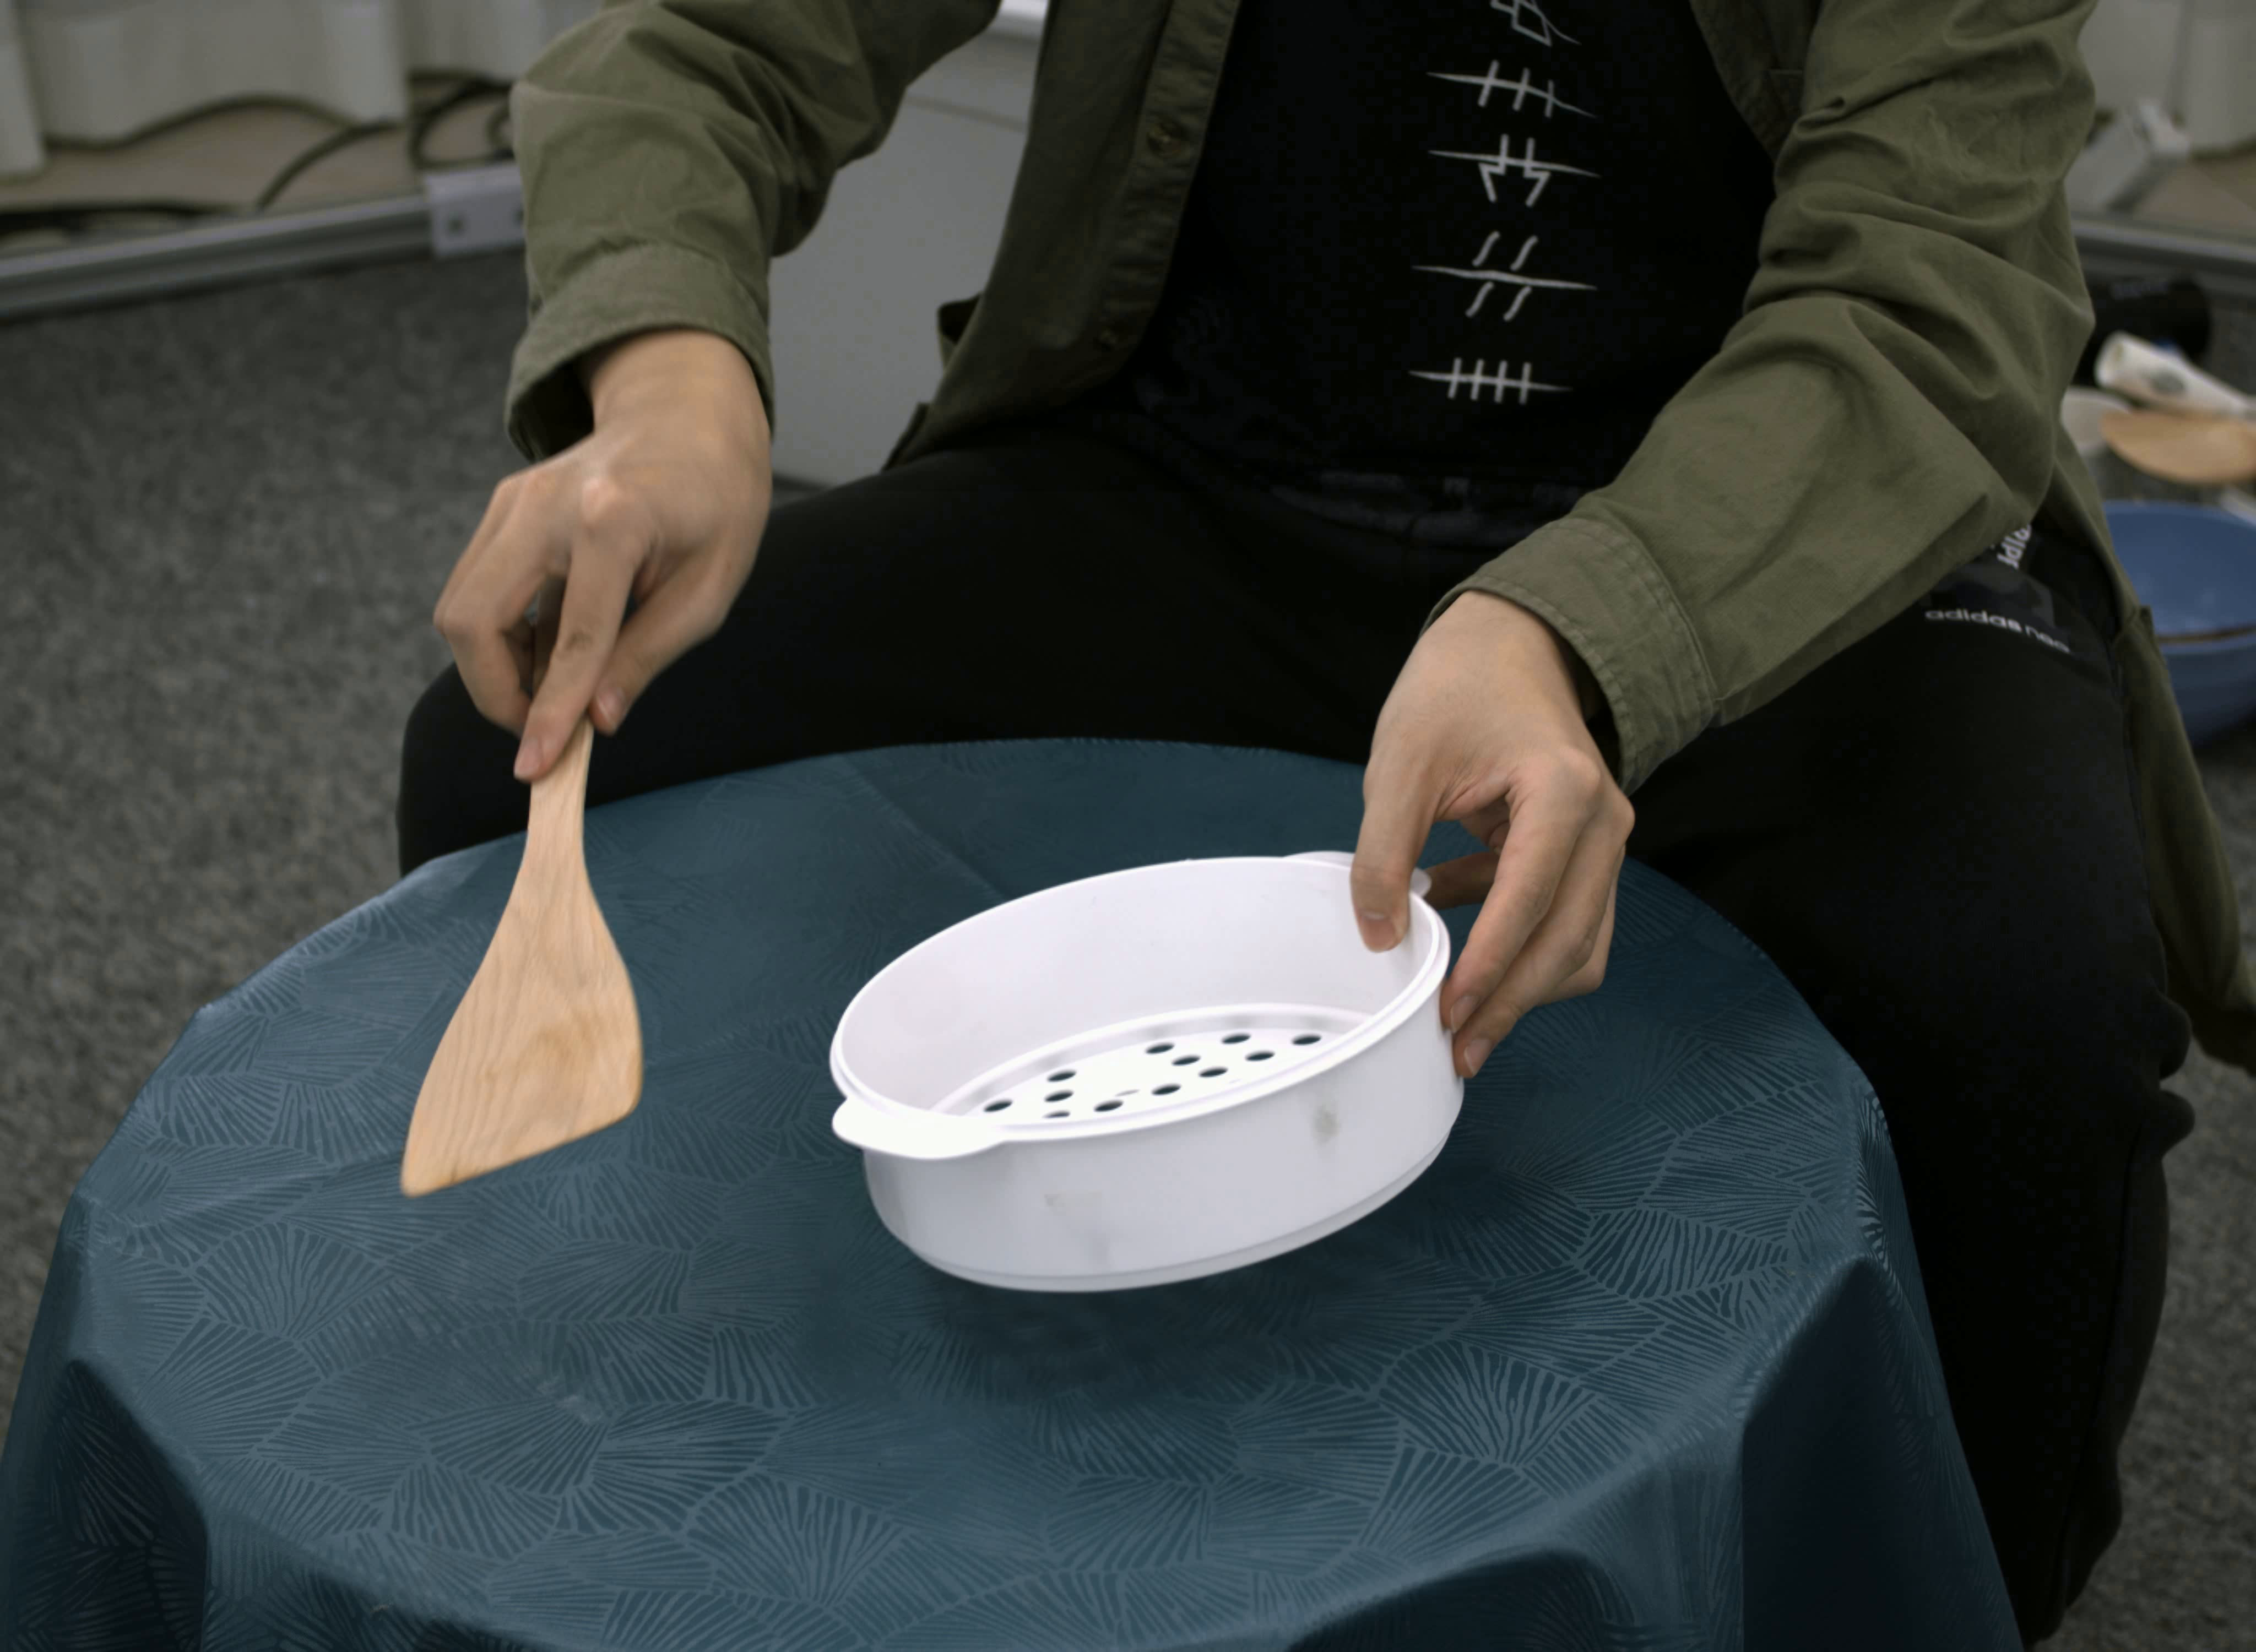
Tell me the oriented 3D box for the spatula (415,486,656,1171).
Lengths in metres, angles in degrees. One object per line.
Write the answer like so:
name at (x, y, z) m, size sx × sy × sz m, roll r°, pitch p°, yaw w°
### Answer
spatula at (-0.187, -0.009, 1.848) m, size 0.079 × 0.016 × 0.334 m, roll -15°, pitch 41°, yaw 11°

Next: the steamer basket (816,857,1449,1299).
steamer basket at (0.004, 0.081, 1.793) m, size 0.201 × 0.069 × 0.233 m, roll 12°, pitch 30°, yaw 44°
